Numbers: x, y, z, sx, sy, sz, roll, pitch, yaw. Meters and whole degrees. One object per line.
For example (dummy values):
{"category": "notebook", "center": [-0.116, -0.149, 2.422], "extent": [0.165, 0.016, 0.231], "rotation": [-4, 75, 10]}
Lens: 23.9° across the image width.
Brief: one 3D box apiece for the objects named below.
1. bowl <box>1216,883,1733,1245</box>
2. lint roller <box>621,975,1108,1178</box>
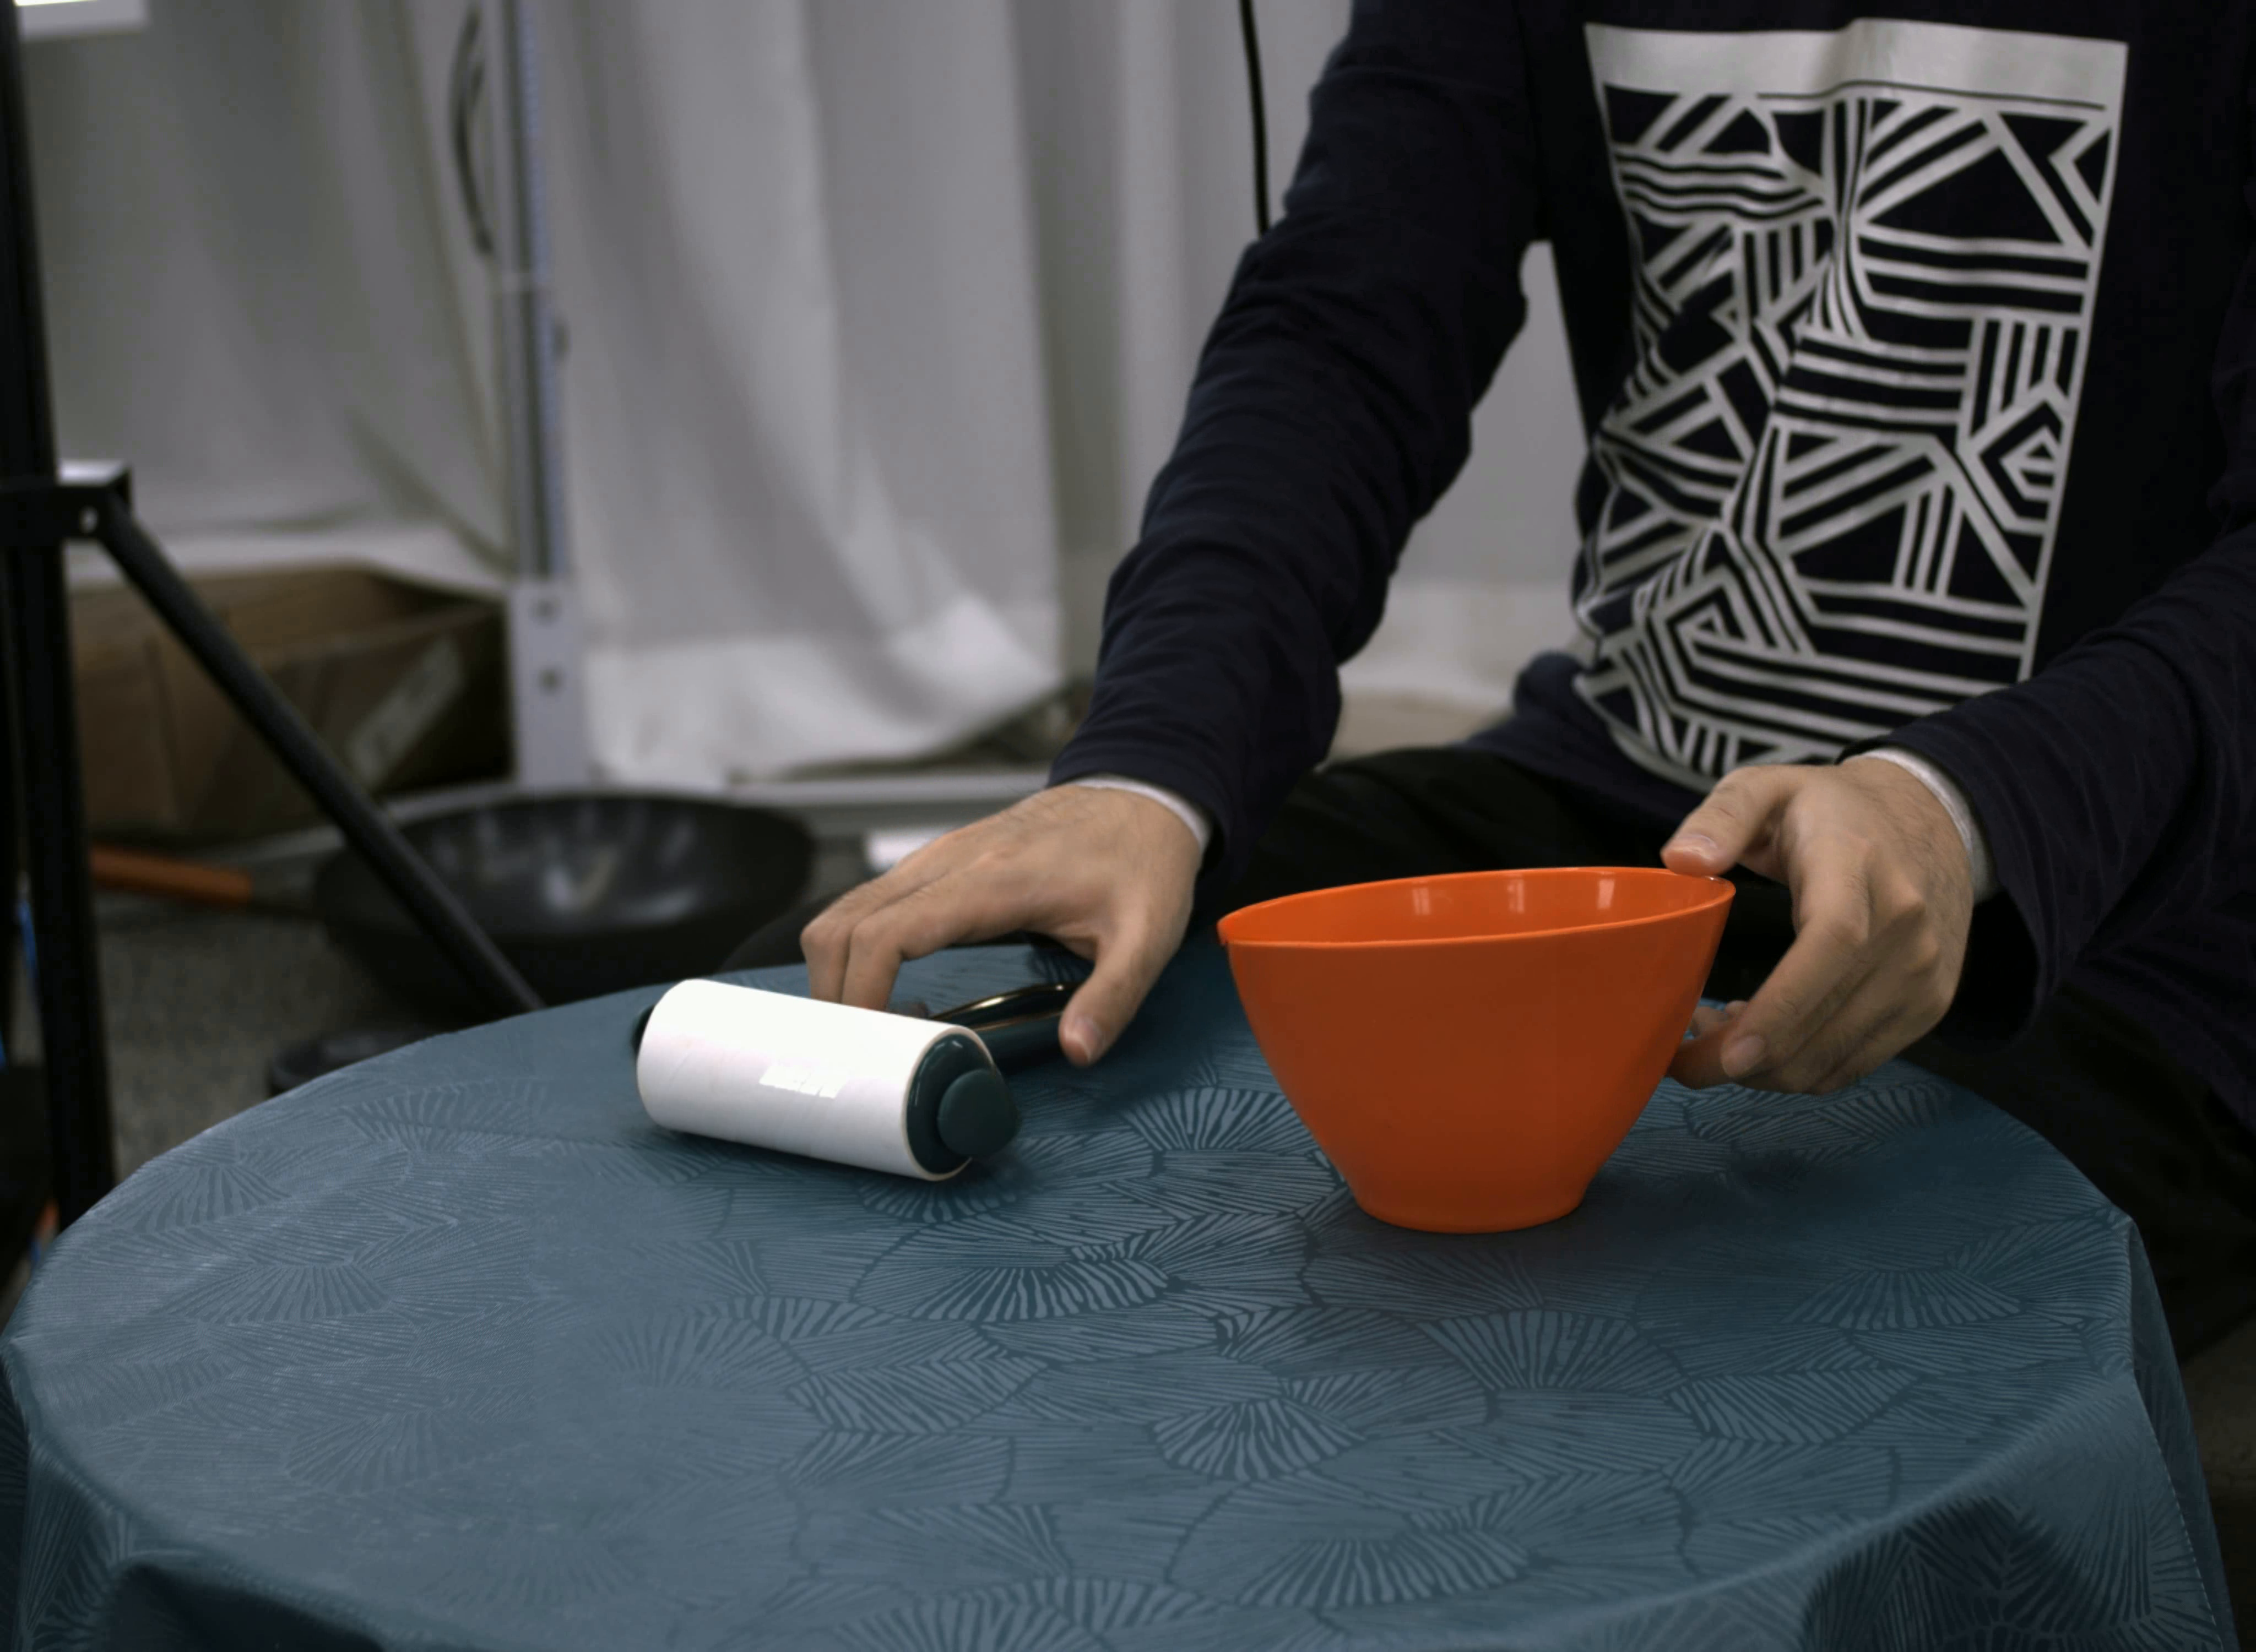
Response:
{"category": "bowl", "center": [0.099, 0.065, 1.522], "extent": [0.147, 0.105, 0.148], "rotation": [-1, 13, -1]}
{"category": "lint roller", "center": [-0.059, 0.063, 1.657], "extent": [0.137, 0.048, 0.176], "rotation": [8, 16, 33]}
